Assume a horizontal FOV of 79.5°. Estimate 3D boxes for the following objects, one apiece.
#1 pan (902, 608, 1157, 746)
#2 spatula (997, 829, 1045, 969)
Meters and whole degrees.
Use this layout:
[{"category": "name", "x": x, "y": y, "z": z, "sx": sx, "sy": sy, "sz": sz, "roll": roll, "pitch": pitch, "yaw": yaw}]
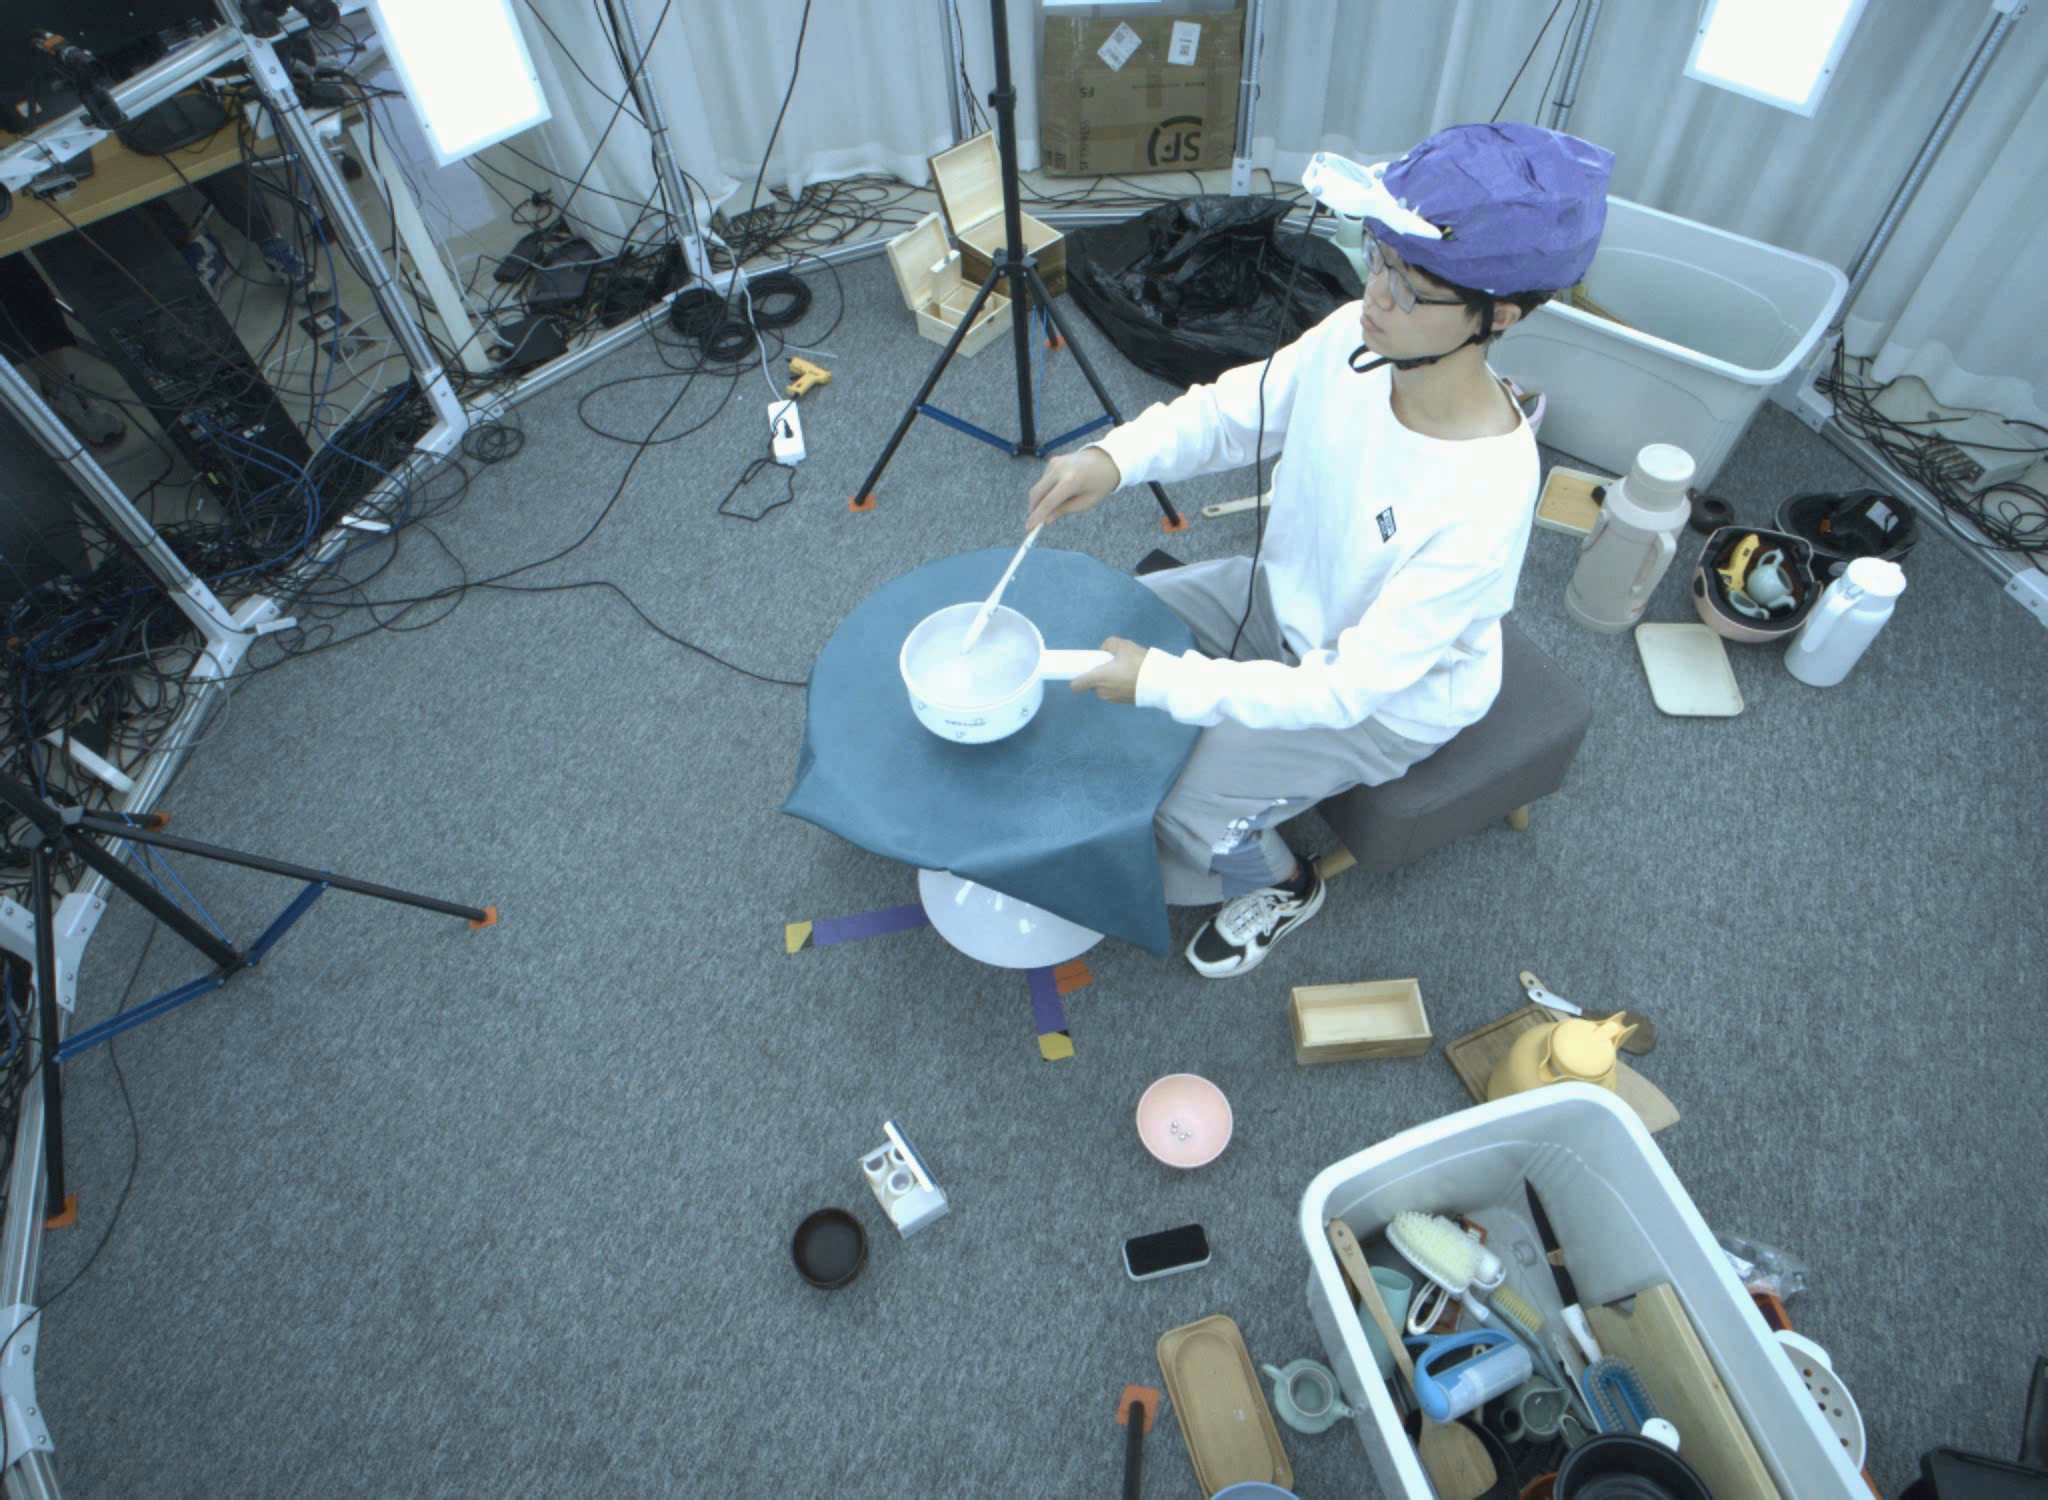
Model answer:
[{"category": "pan", "x": 0.008, "y": -0.095, "z": 1.738, "sx": 0.354, "sy": 0.103, "sz": 0.199, "roll": 3, "pitch": 49, "yaw": 1}, {"category": "spatula", "x": 0.005, "y": 0.272, "z": 2.269, "sx": 0.072, "sy": 0.011, "sz": 0.289, "roll": -7, "pitch": 55, "yaw": -5}]
